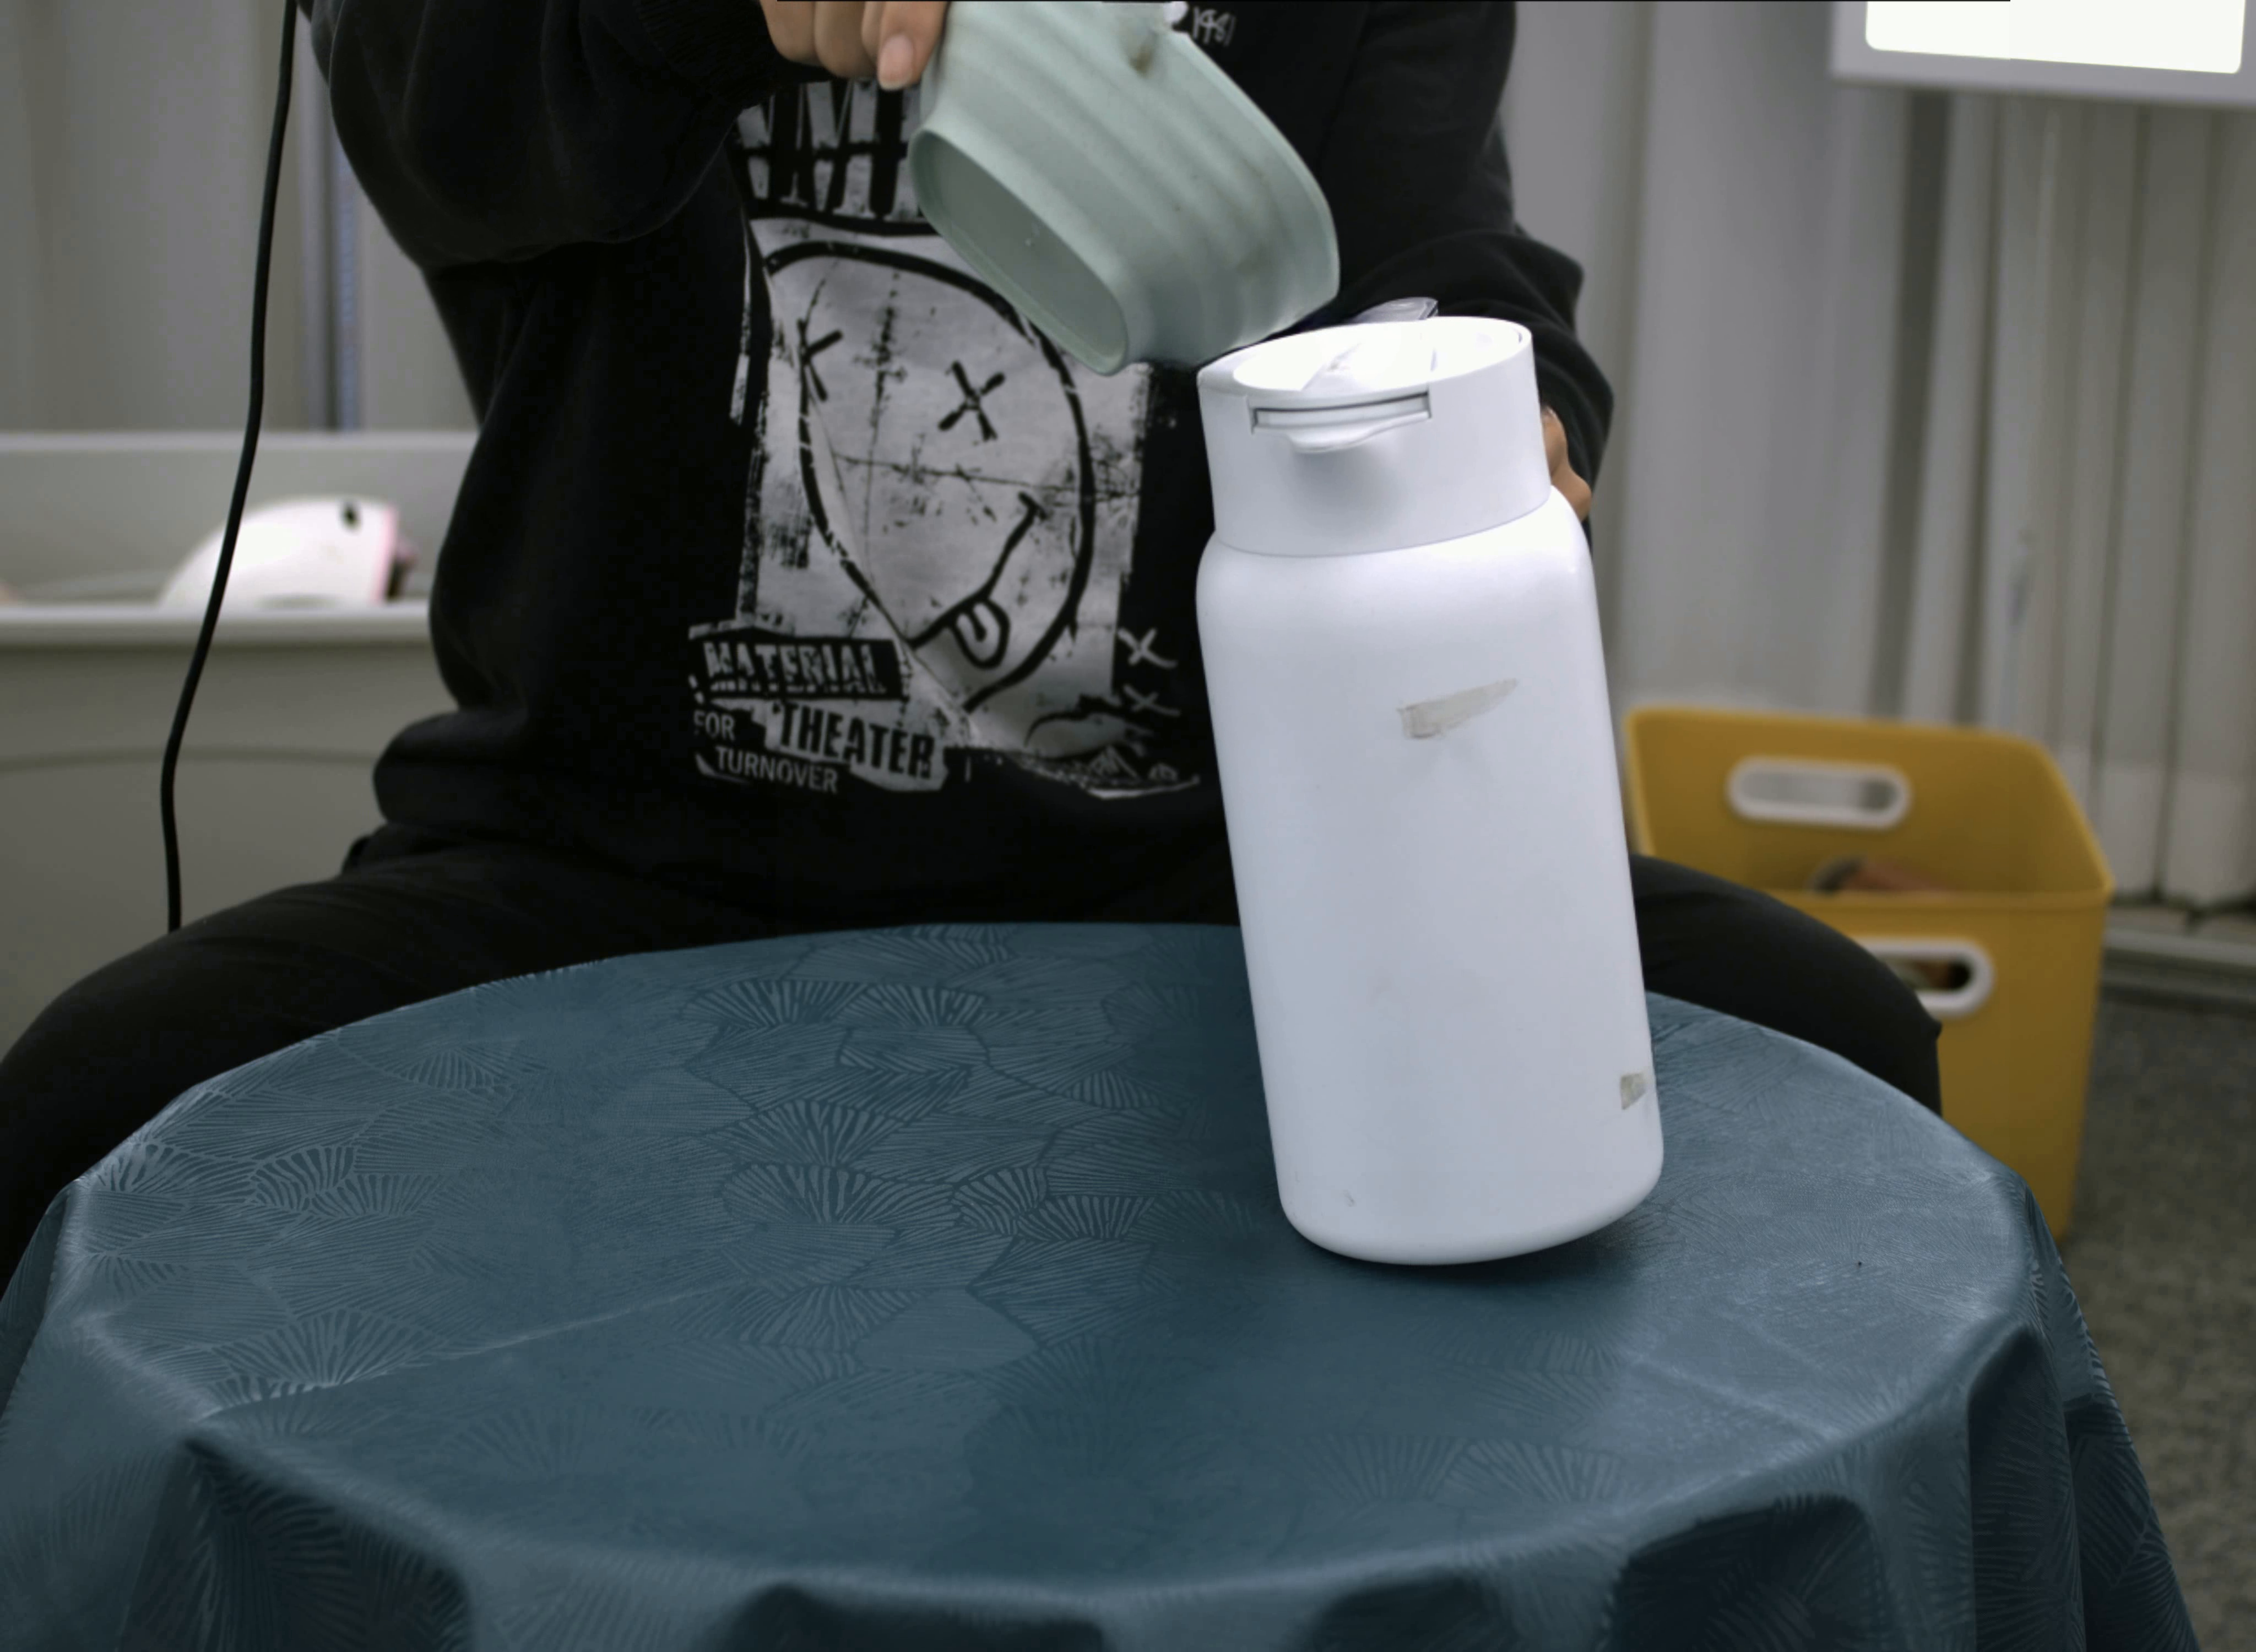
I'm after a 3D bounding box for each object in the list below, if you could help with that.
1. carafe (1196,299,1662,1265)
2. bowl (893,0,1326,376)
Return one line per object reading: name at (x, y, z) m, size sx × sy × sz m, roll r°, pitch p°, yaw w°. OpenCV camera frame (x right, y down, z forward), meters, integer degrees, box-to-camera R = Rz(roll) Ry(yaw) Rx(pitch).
carafe at (0.089, -0.017, 1.571) m, size 0.123 × 0.271 × 0.172 m, roll -6°, pitch 17°, yaw 14°
bowl at (-0.015, -0.178, 1.456) m, size 0.058 × 0.153 × 0.149 m, roll -47°, pitch 34°, yaw -13°
